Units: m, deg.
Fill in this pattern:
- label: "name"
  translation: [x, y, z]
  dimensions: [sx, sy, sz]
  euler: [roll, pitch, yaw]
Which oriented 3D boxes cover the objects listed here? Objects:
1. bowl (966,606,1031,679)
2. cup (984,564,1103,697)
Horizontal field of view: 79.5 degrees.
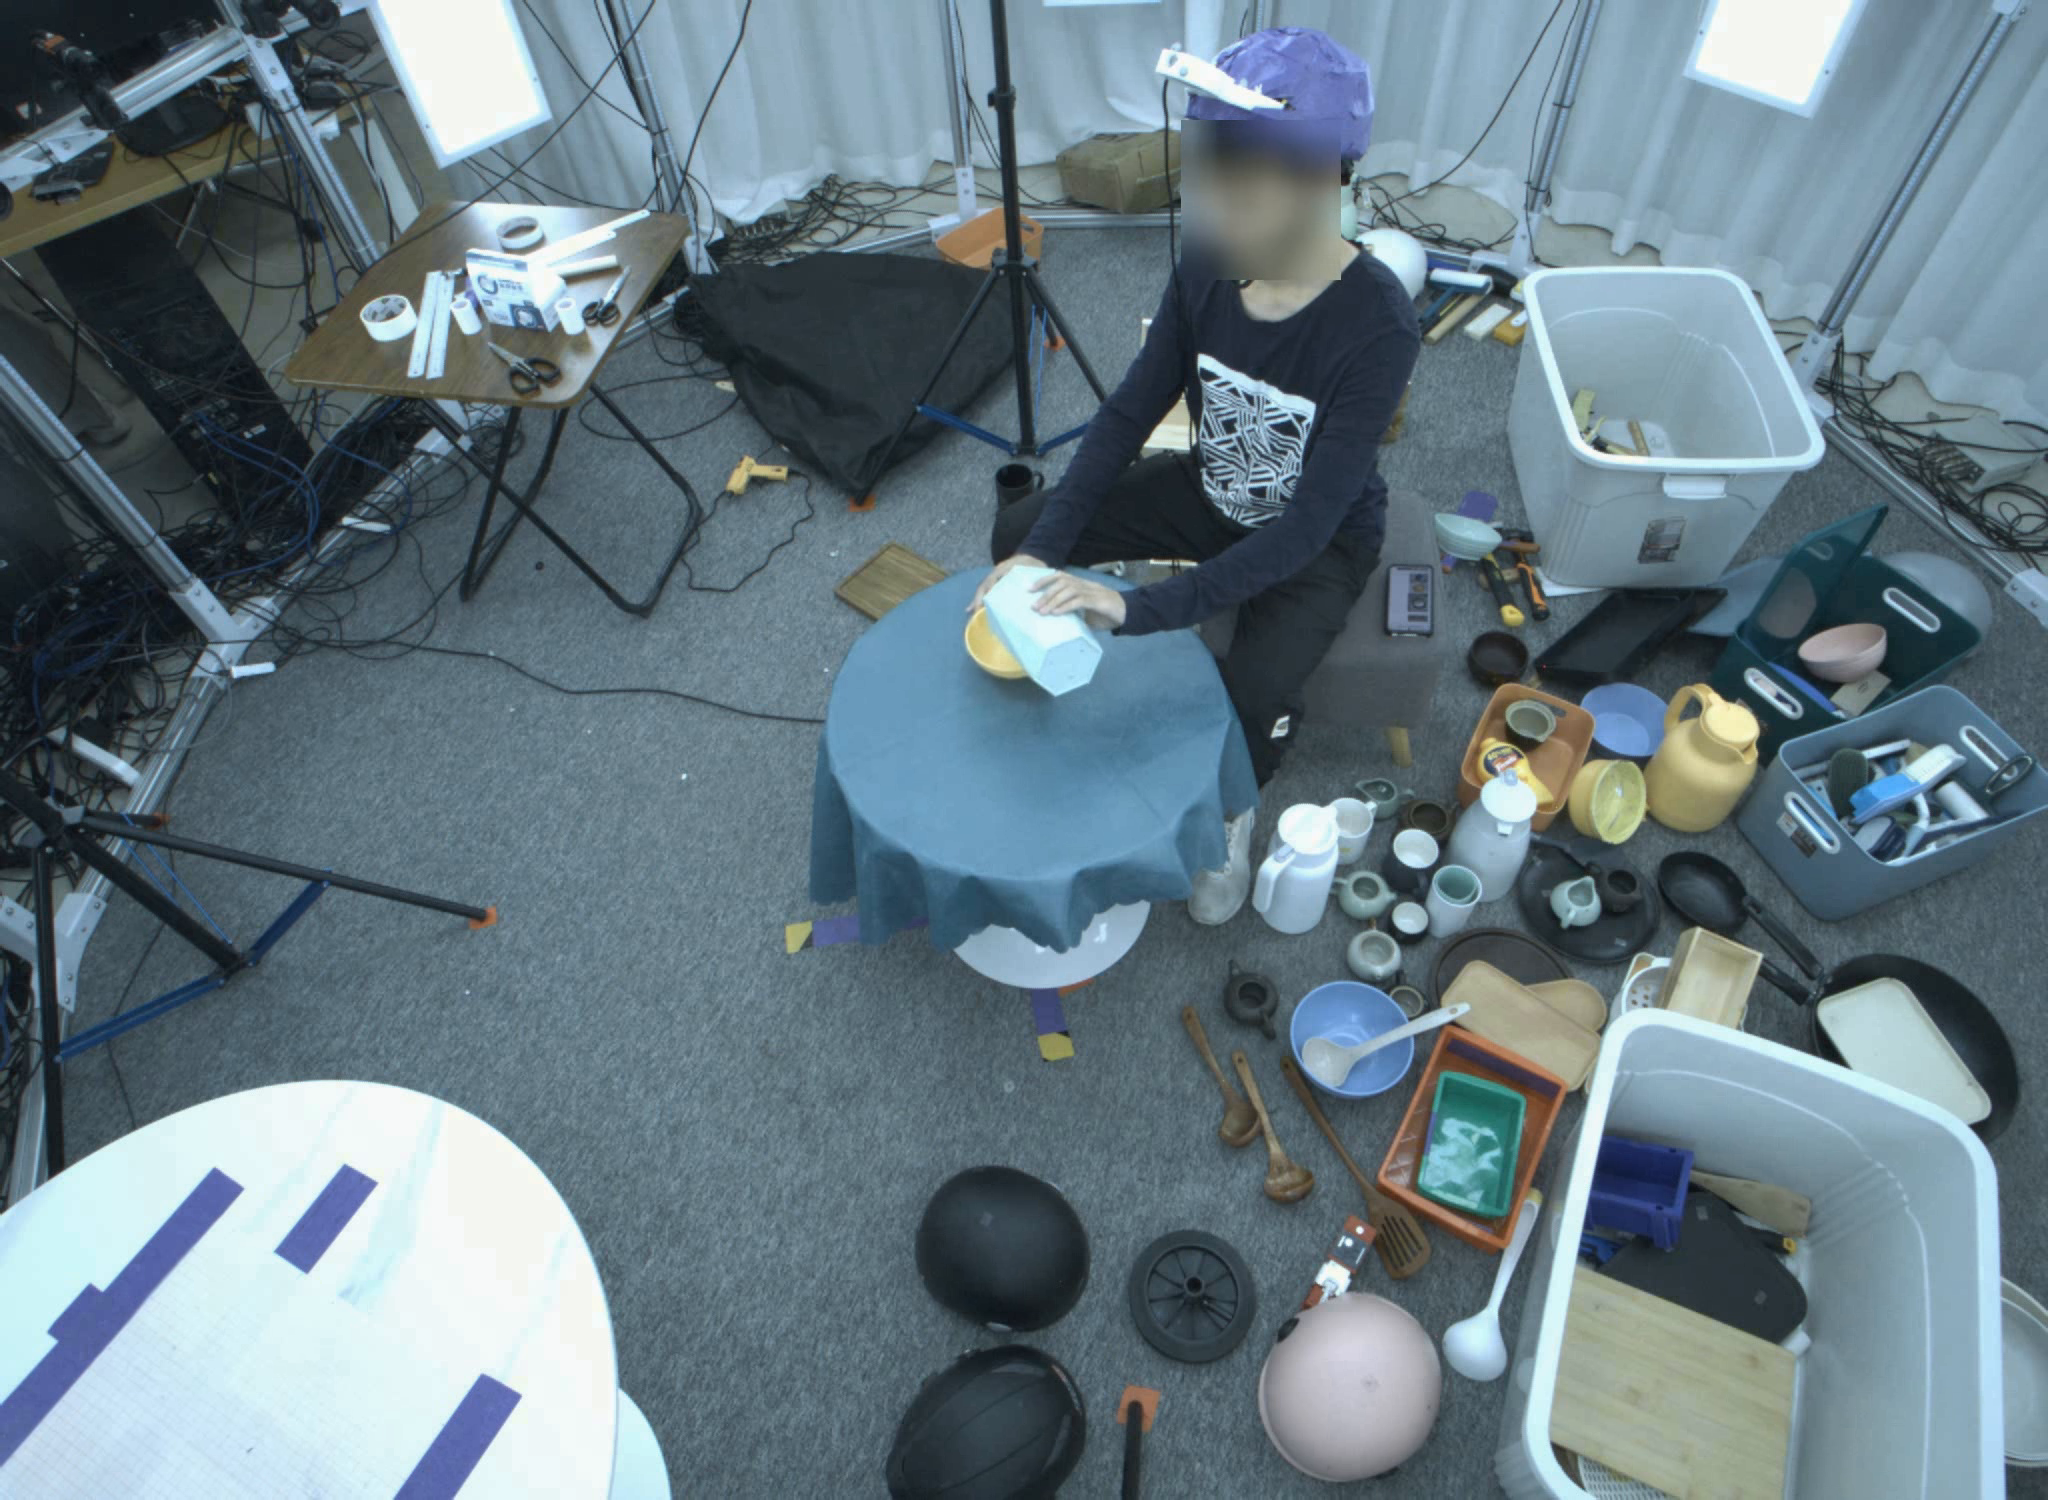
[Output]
- label: "bowl"
  translation: [-0.015, -0.156, 1.858]
  dimensions: [0.145, 0.061, 0.144]
  euler: [1, 54, 1]
- label: "cup"
  translation: [0.028, -0.164, 1.708]
  dimensions: [0.116, 0.133, 0.159]
  euler: [-21, 49, -11]
